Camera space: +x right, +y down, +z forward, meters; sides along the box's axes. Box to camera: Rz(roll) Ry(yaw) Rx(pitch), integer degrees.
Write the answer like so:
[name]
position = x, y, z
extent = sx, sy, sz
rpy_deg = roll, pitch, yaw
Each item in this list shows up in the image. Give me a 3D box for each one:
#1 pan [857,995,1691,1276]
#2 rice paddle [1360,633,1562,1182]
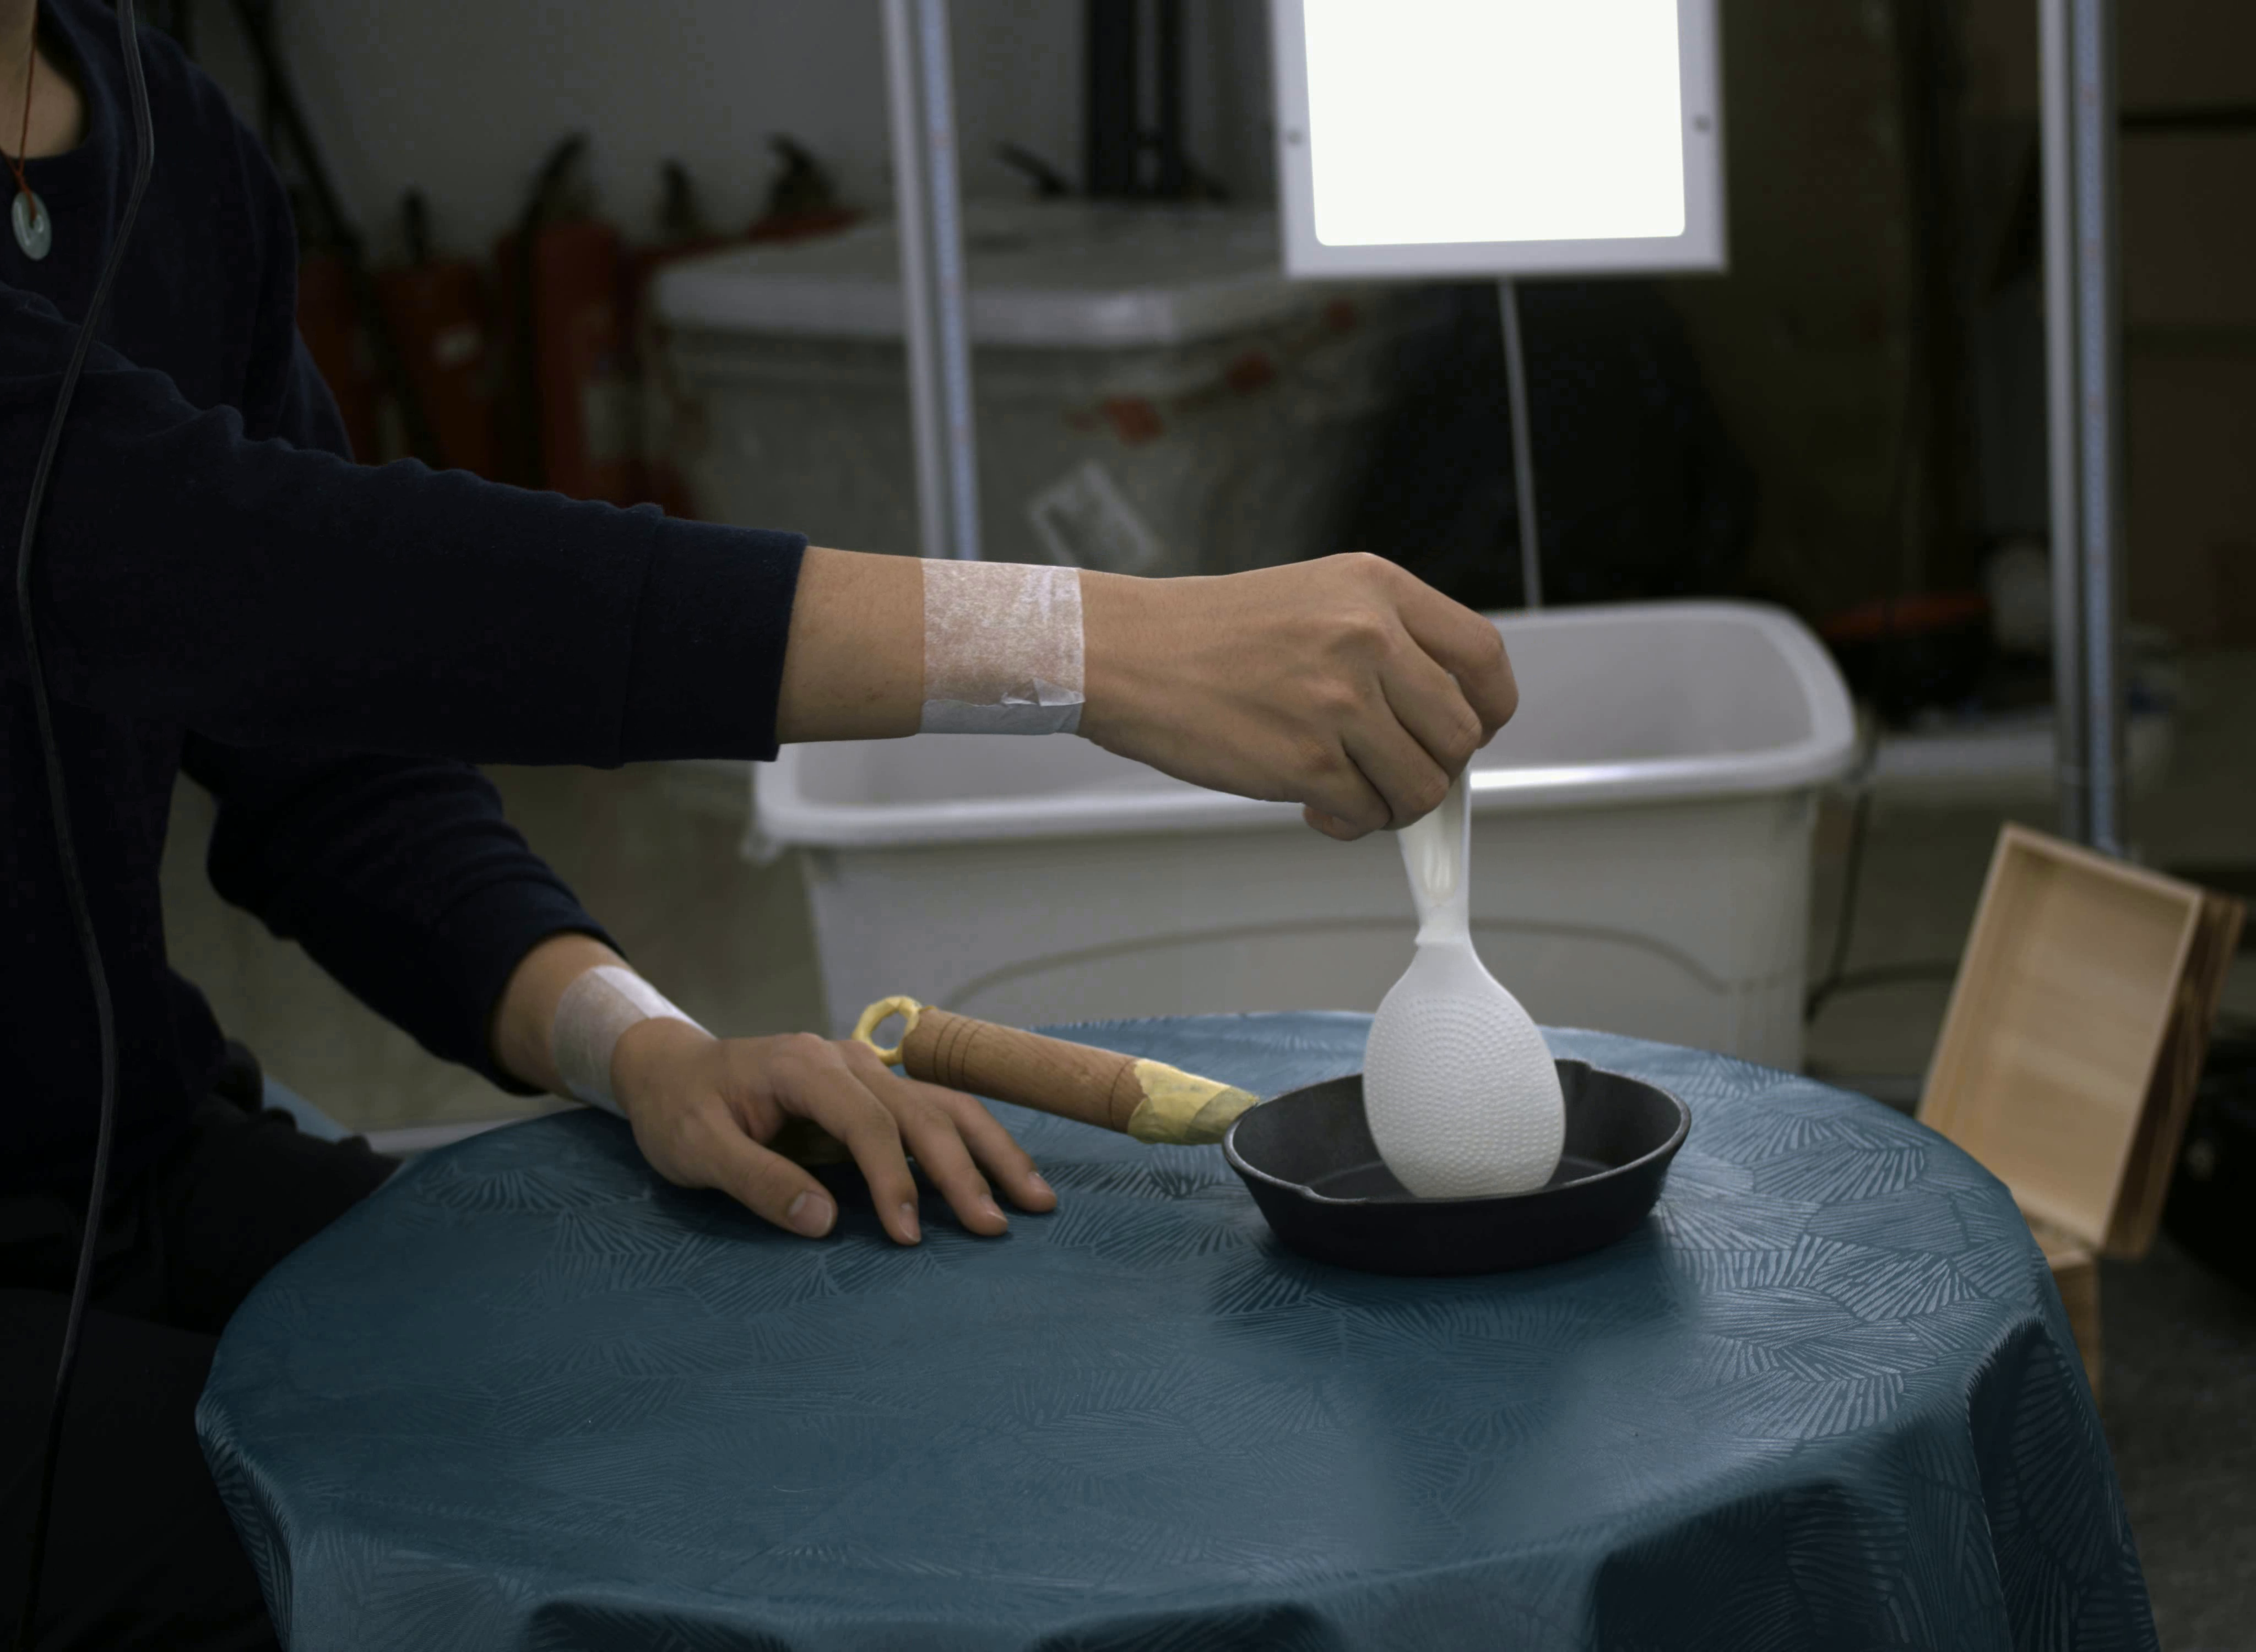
[pan]
position = 0.041, 0.100, 1.883
extent = 0.331, 0.050, 0.165
rpy_deg = 7, 18, 36
[rice paddle]
position = 0.103, 0.036, 1.785
extent = 0.070, 0.206, 0.029
rpy_deg = 3, 28, 21
